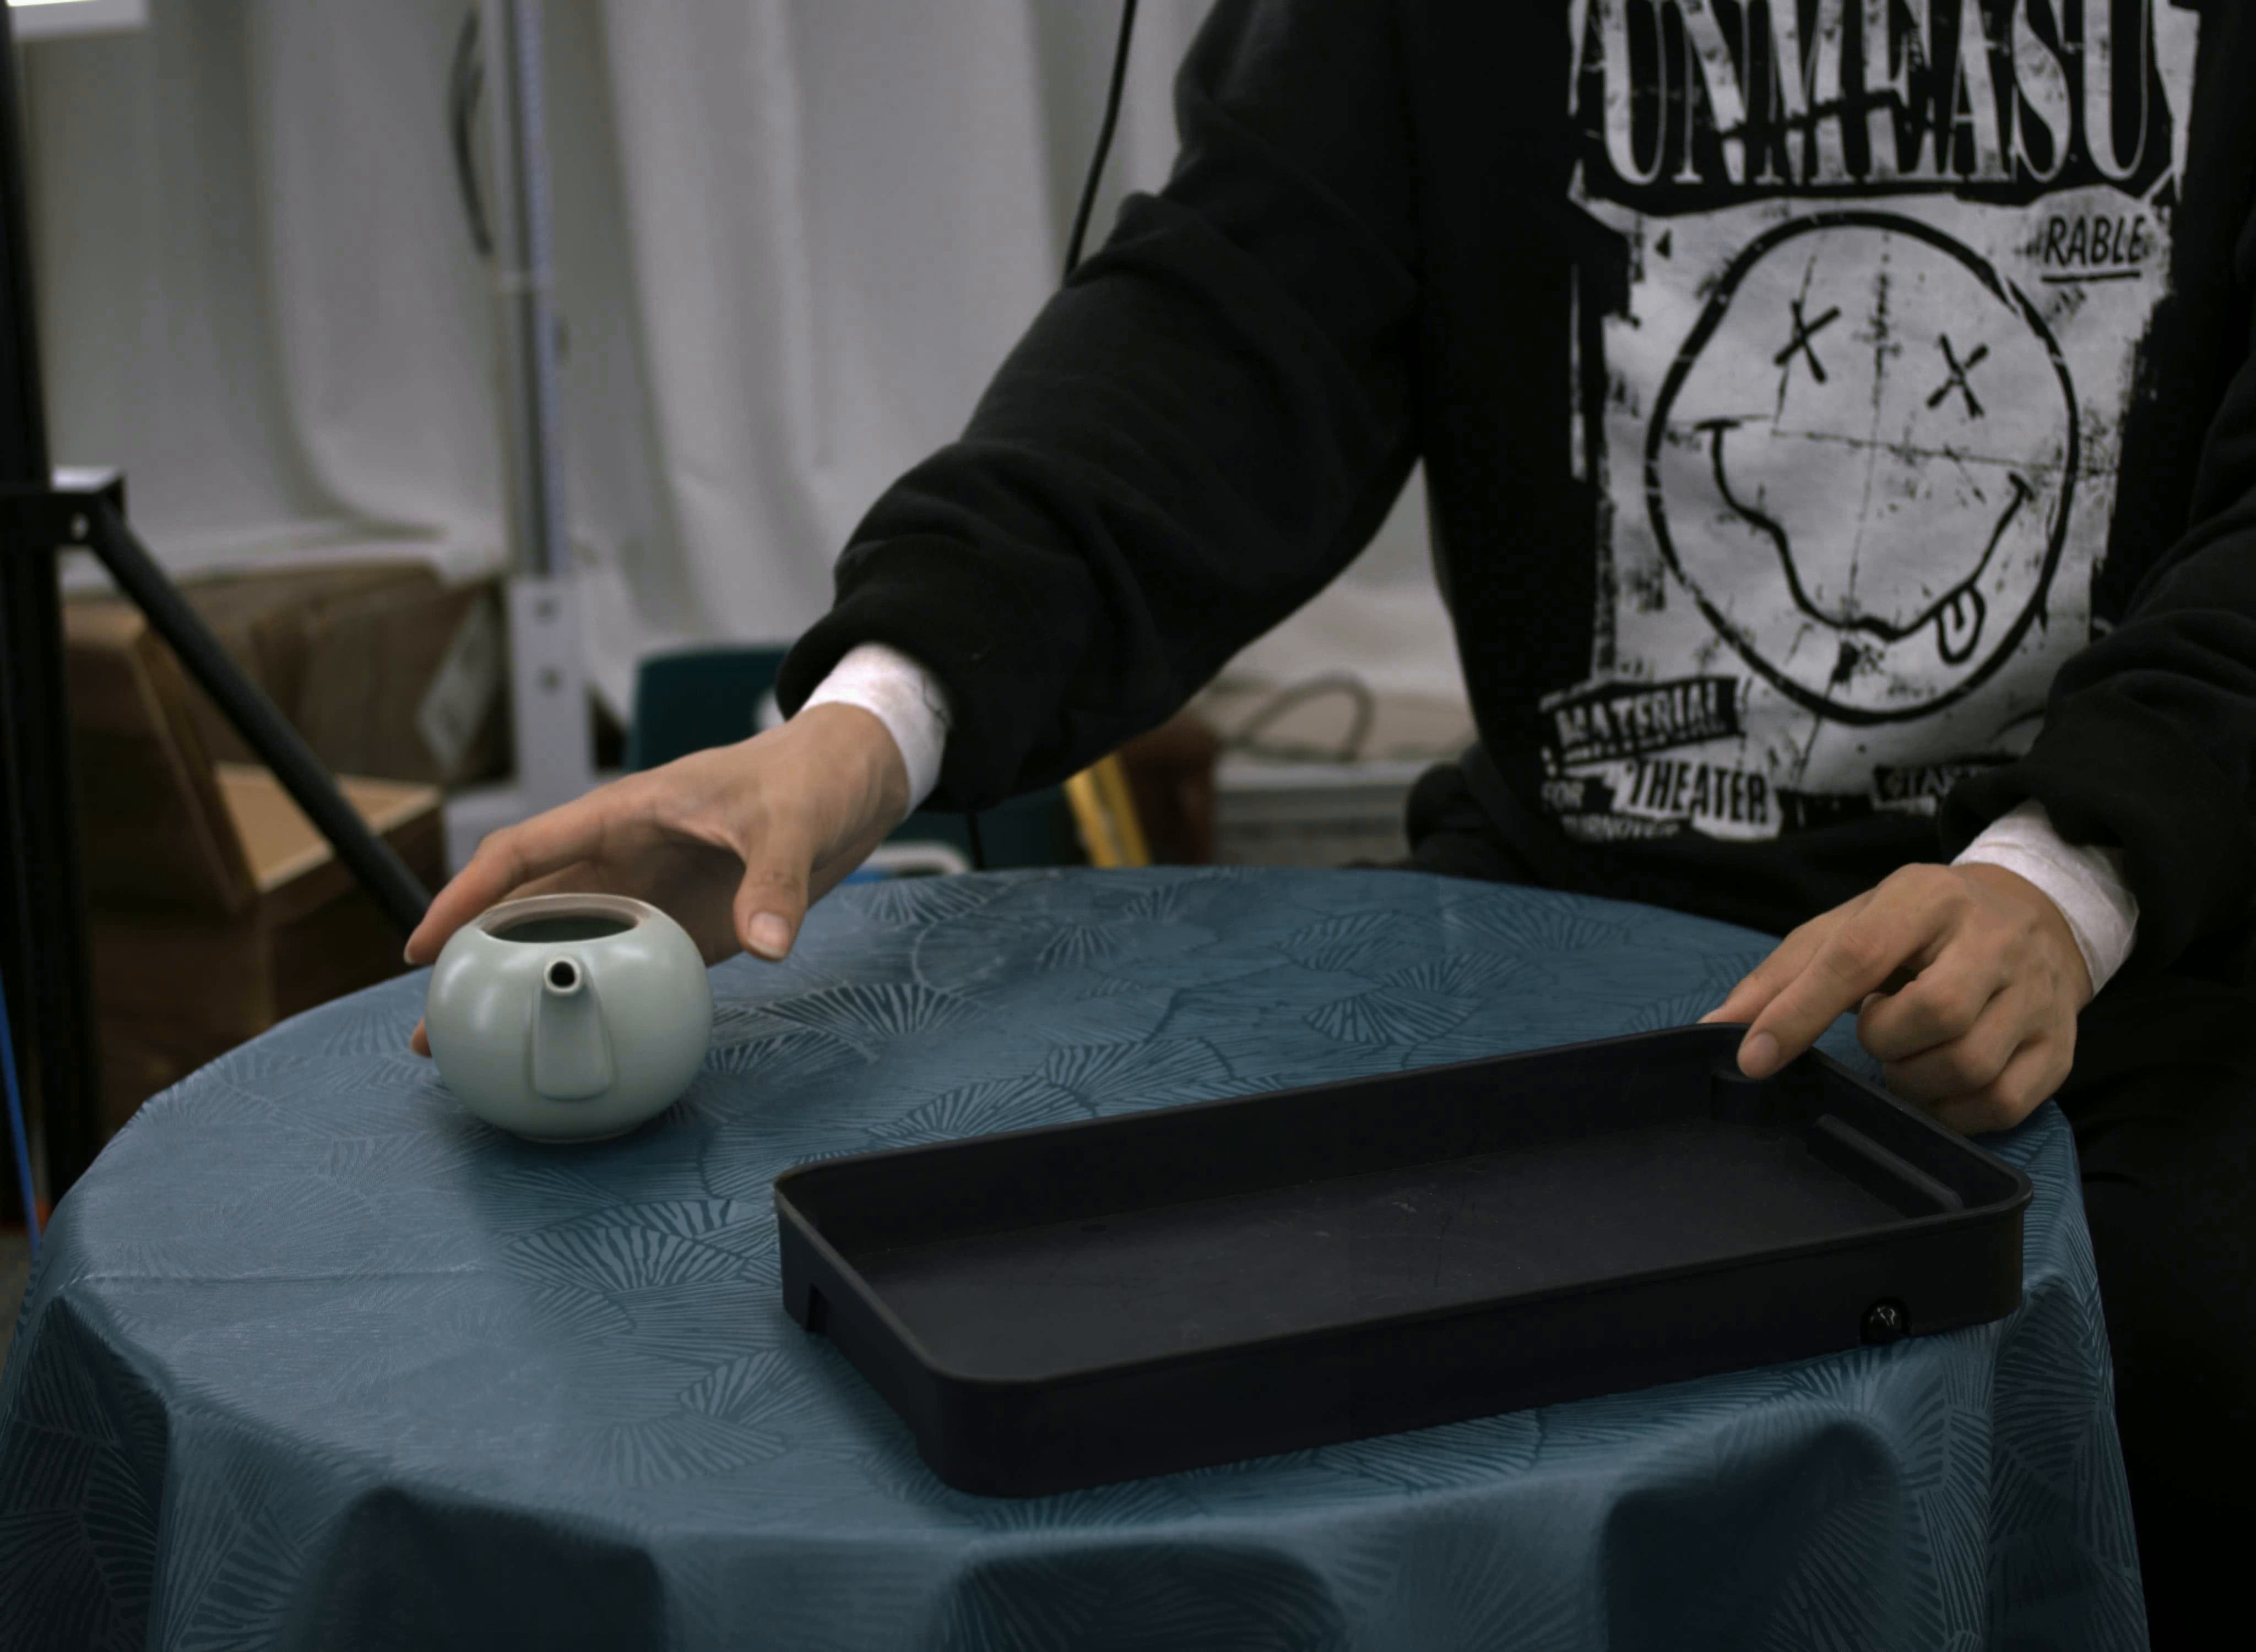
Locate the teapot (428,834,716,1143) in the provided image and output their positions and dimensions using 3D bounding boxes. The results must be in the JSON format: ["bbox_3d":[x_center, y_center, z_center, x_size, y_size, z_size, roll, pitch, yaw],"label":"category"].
[{"bbox_3d":[-0.170,0.056,1.633,0.088,0.074,0.145,-3,17,-3],"label":"teapot"}]

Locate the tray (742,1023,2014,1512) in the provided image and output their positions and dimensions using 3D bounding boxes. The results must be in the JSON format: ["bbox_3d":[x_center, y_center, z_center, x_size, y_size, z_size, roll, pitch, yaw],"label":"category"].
[{"bbox_3d":[0.068,0.116,1.452,0.312,0.037,0.187,-8,17,-19],"label":"tray"}]
